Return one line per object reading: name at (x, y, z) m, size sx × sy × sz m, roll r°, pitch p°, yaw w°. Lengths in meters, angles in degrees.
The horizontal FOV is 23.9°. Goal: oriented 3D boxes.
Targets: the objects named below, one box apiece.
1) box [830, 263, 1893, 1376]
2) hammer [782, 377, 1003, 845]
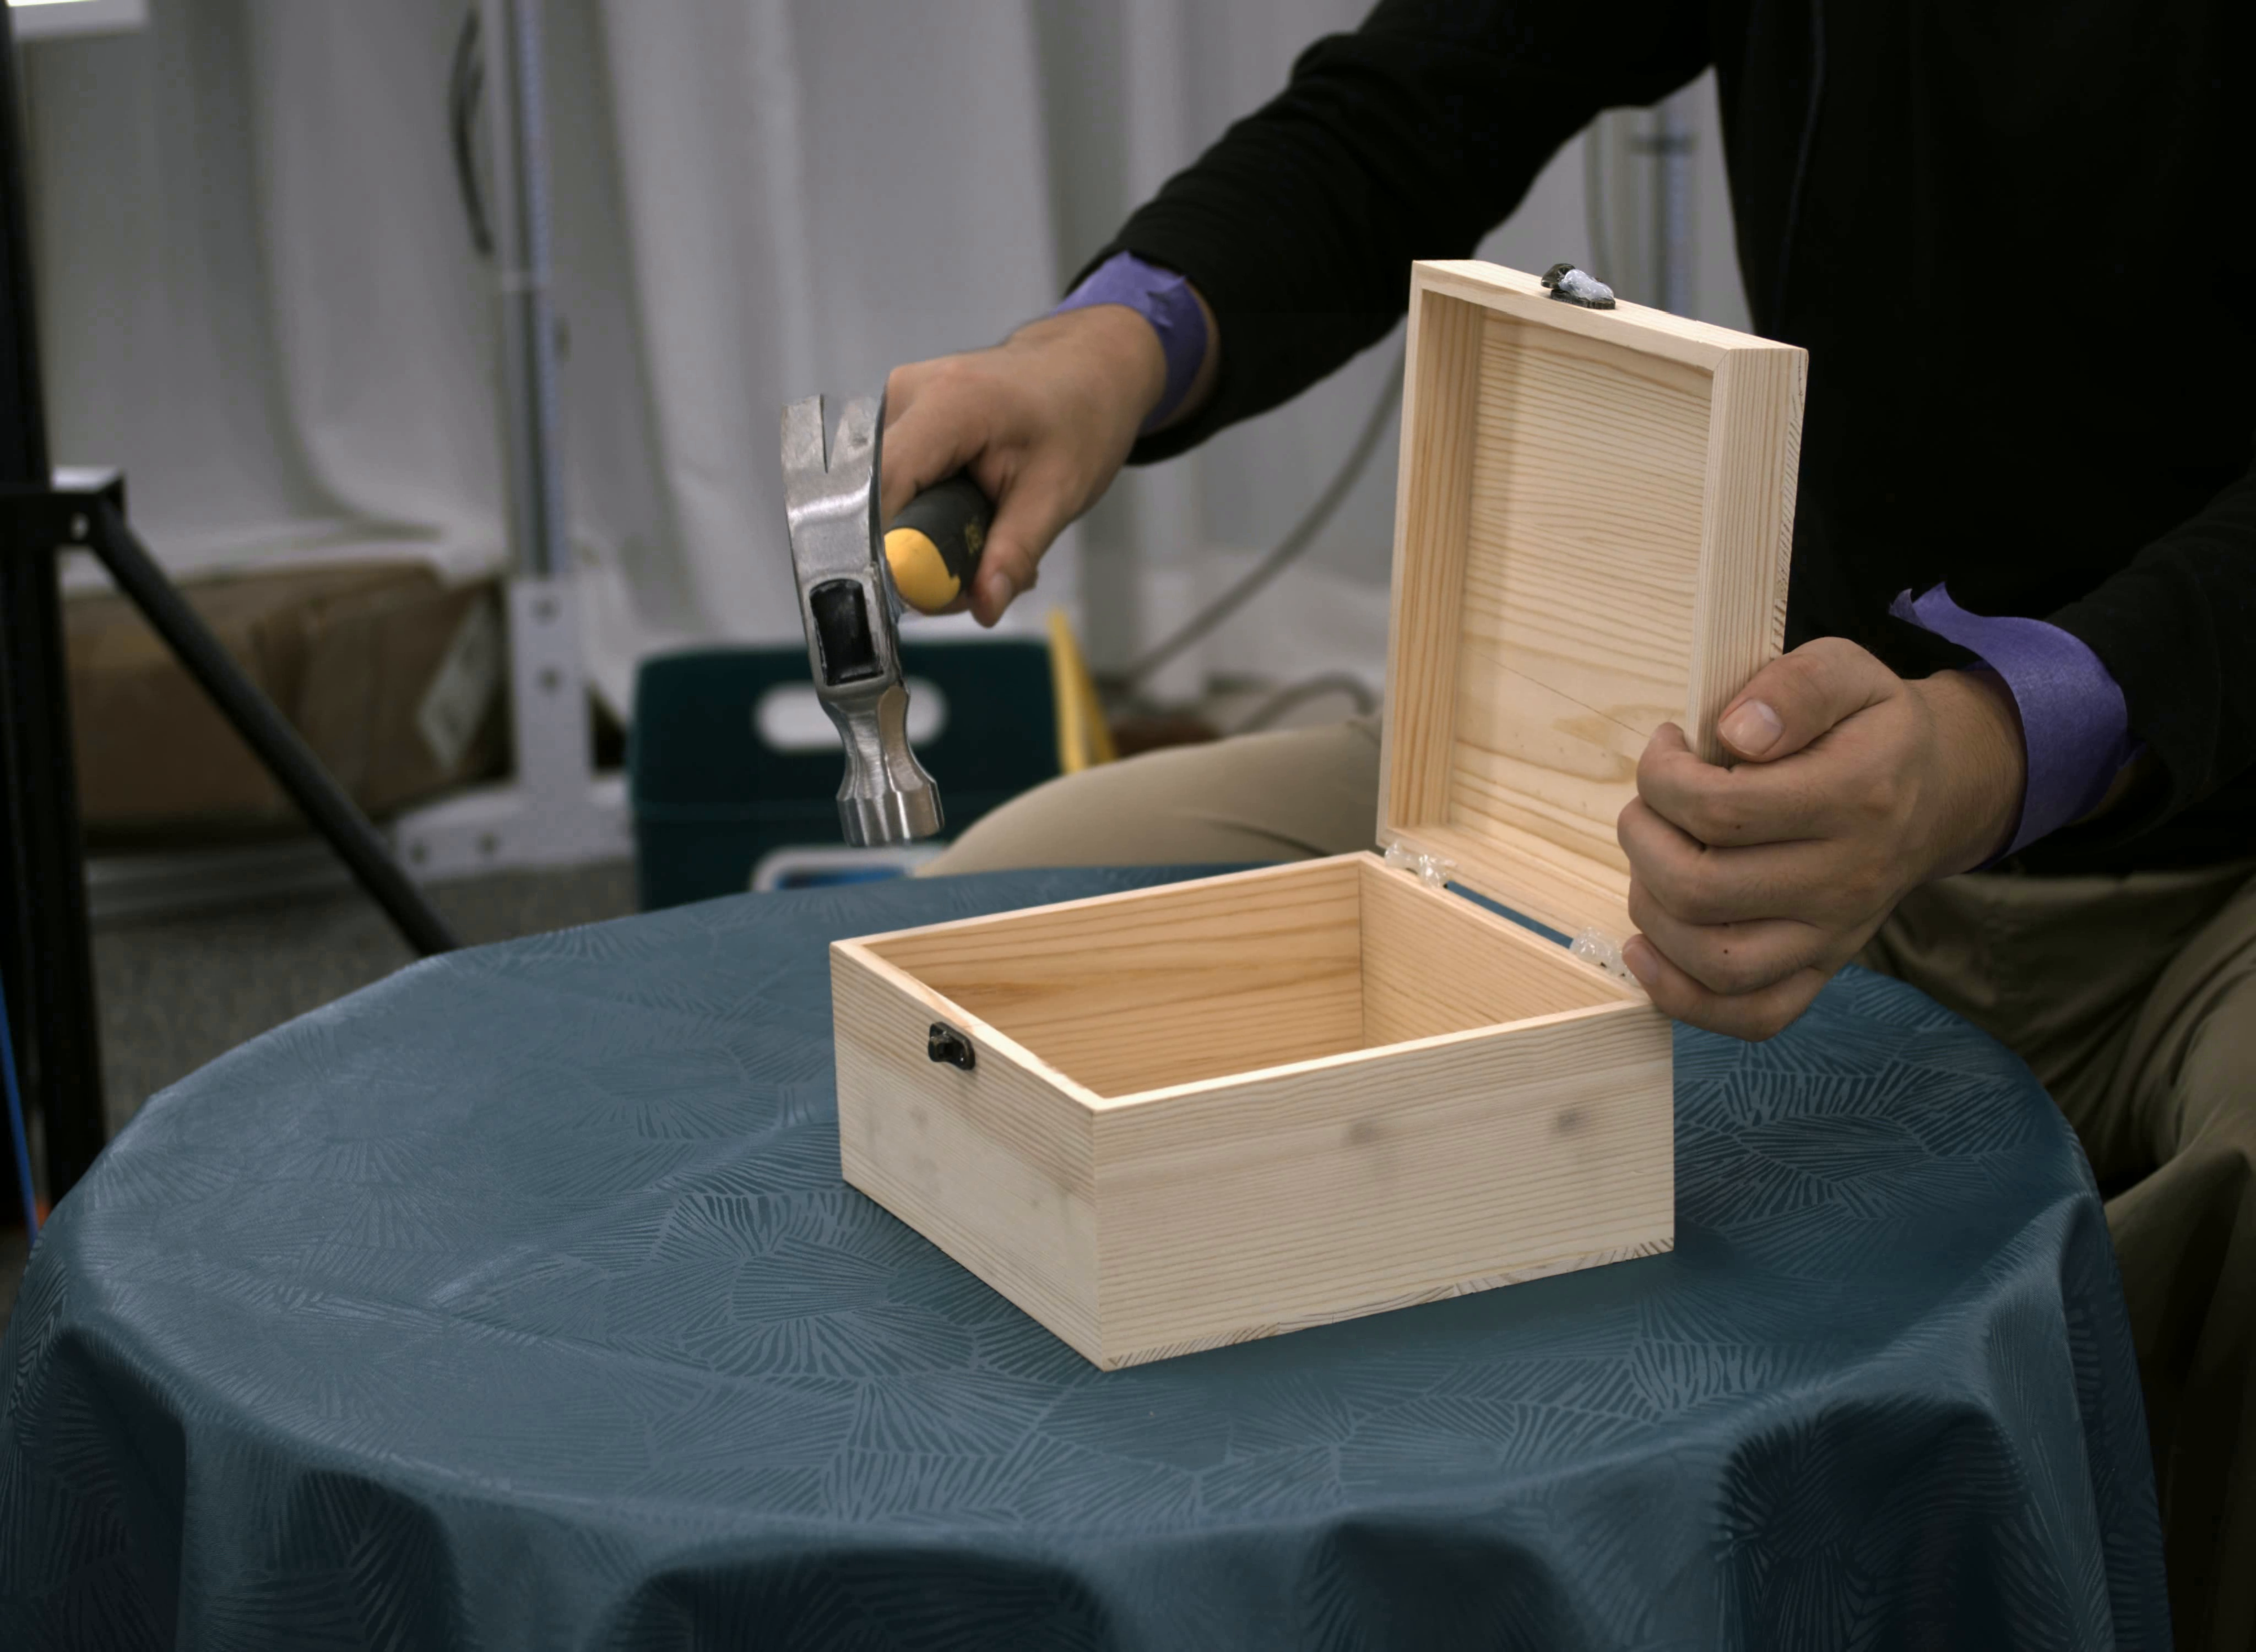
box at (0.060, -0.012, 1.512) m, size 0.260 × 0.253 × 0.185 m, roll -10°, pitch 15°, yaw -23°
hammer at (-0.068, -0.086, 1.711) m, size 0.032 × 0.131 × 0.338 m, roll -9°, pitch 8°, yaw 6°
